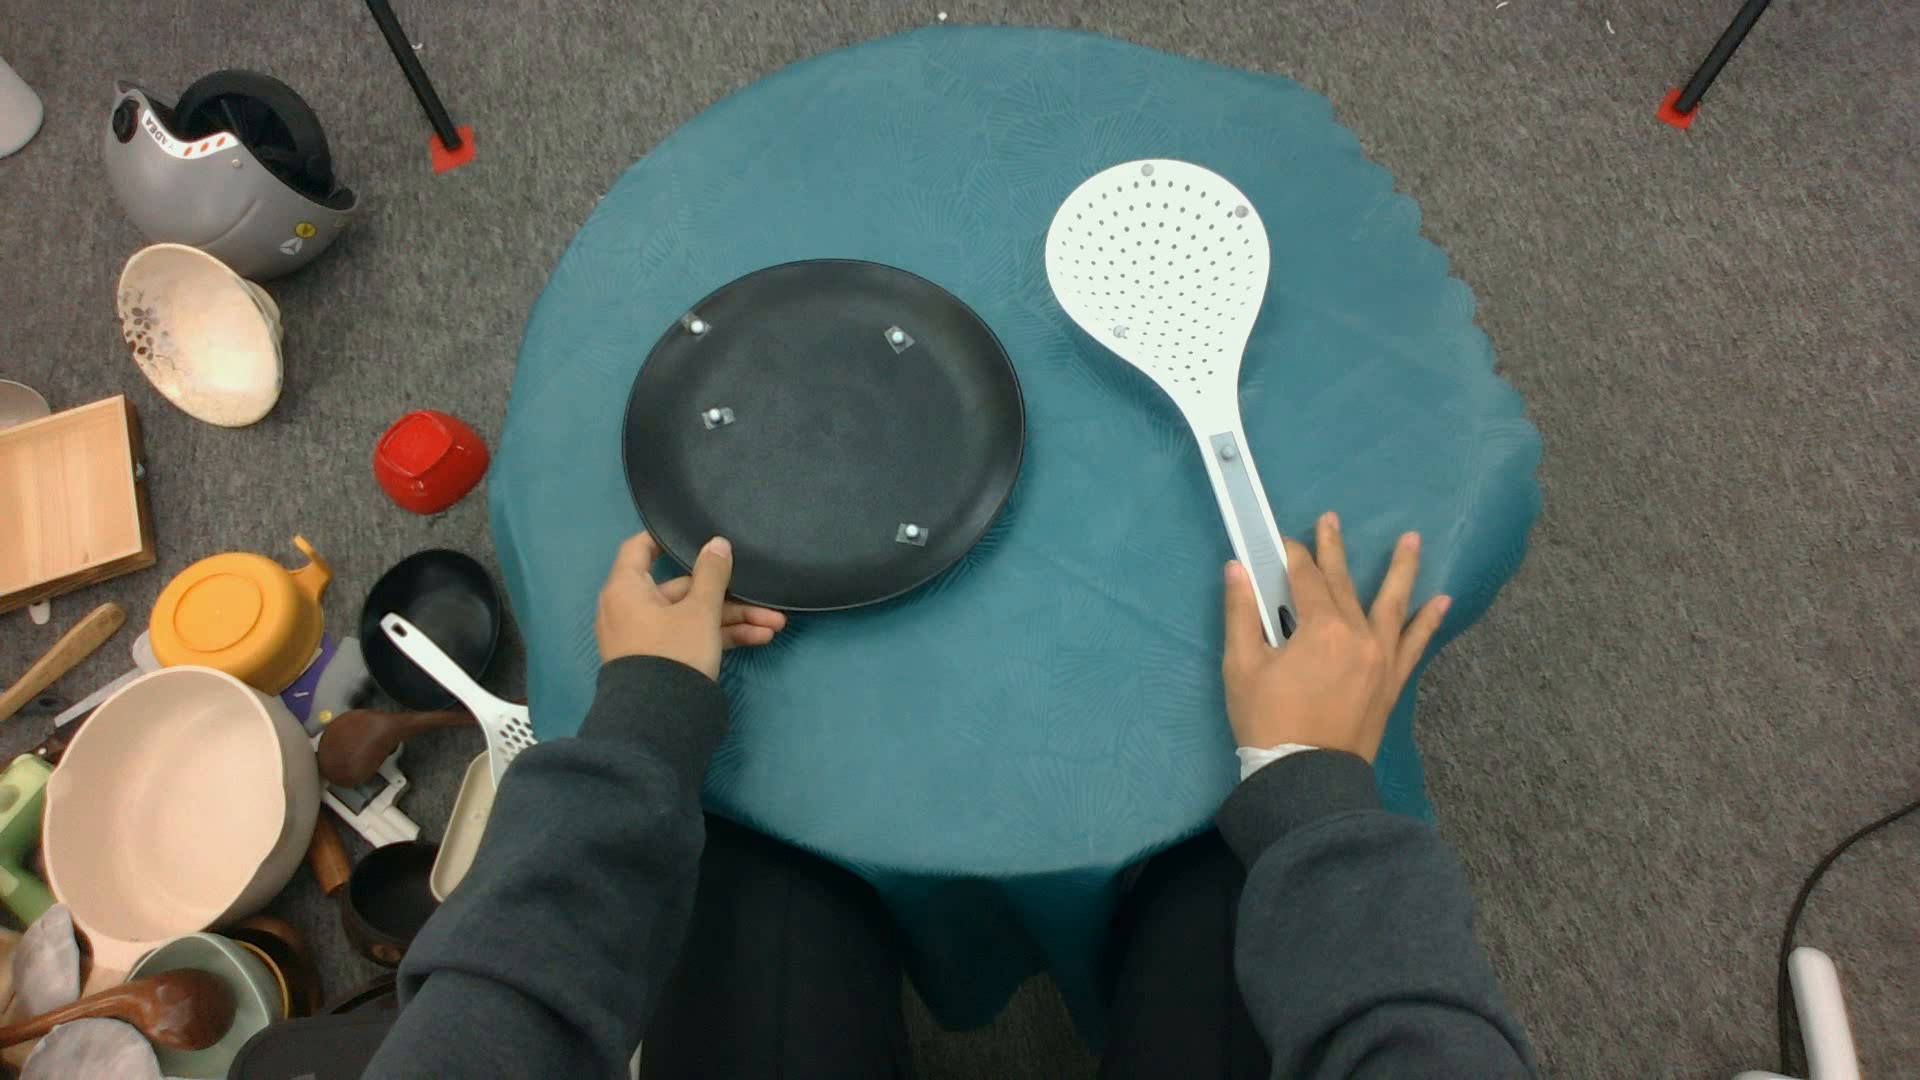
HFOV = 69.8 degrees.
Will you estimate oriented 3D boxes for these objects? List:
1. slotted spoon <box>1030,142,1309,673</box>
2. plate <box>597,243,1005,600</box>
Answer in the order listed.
[{"bbox_3d":[0.138,-0.087,0.820,0.136,0.045,0.350,-13,66,-8],"label":"slotted spoon"},{"bbox_3d":[-0.094,-0.075,0.832,0.244,0.023,0.245,0,65,0],"label":"plate"}]
